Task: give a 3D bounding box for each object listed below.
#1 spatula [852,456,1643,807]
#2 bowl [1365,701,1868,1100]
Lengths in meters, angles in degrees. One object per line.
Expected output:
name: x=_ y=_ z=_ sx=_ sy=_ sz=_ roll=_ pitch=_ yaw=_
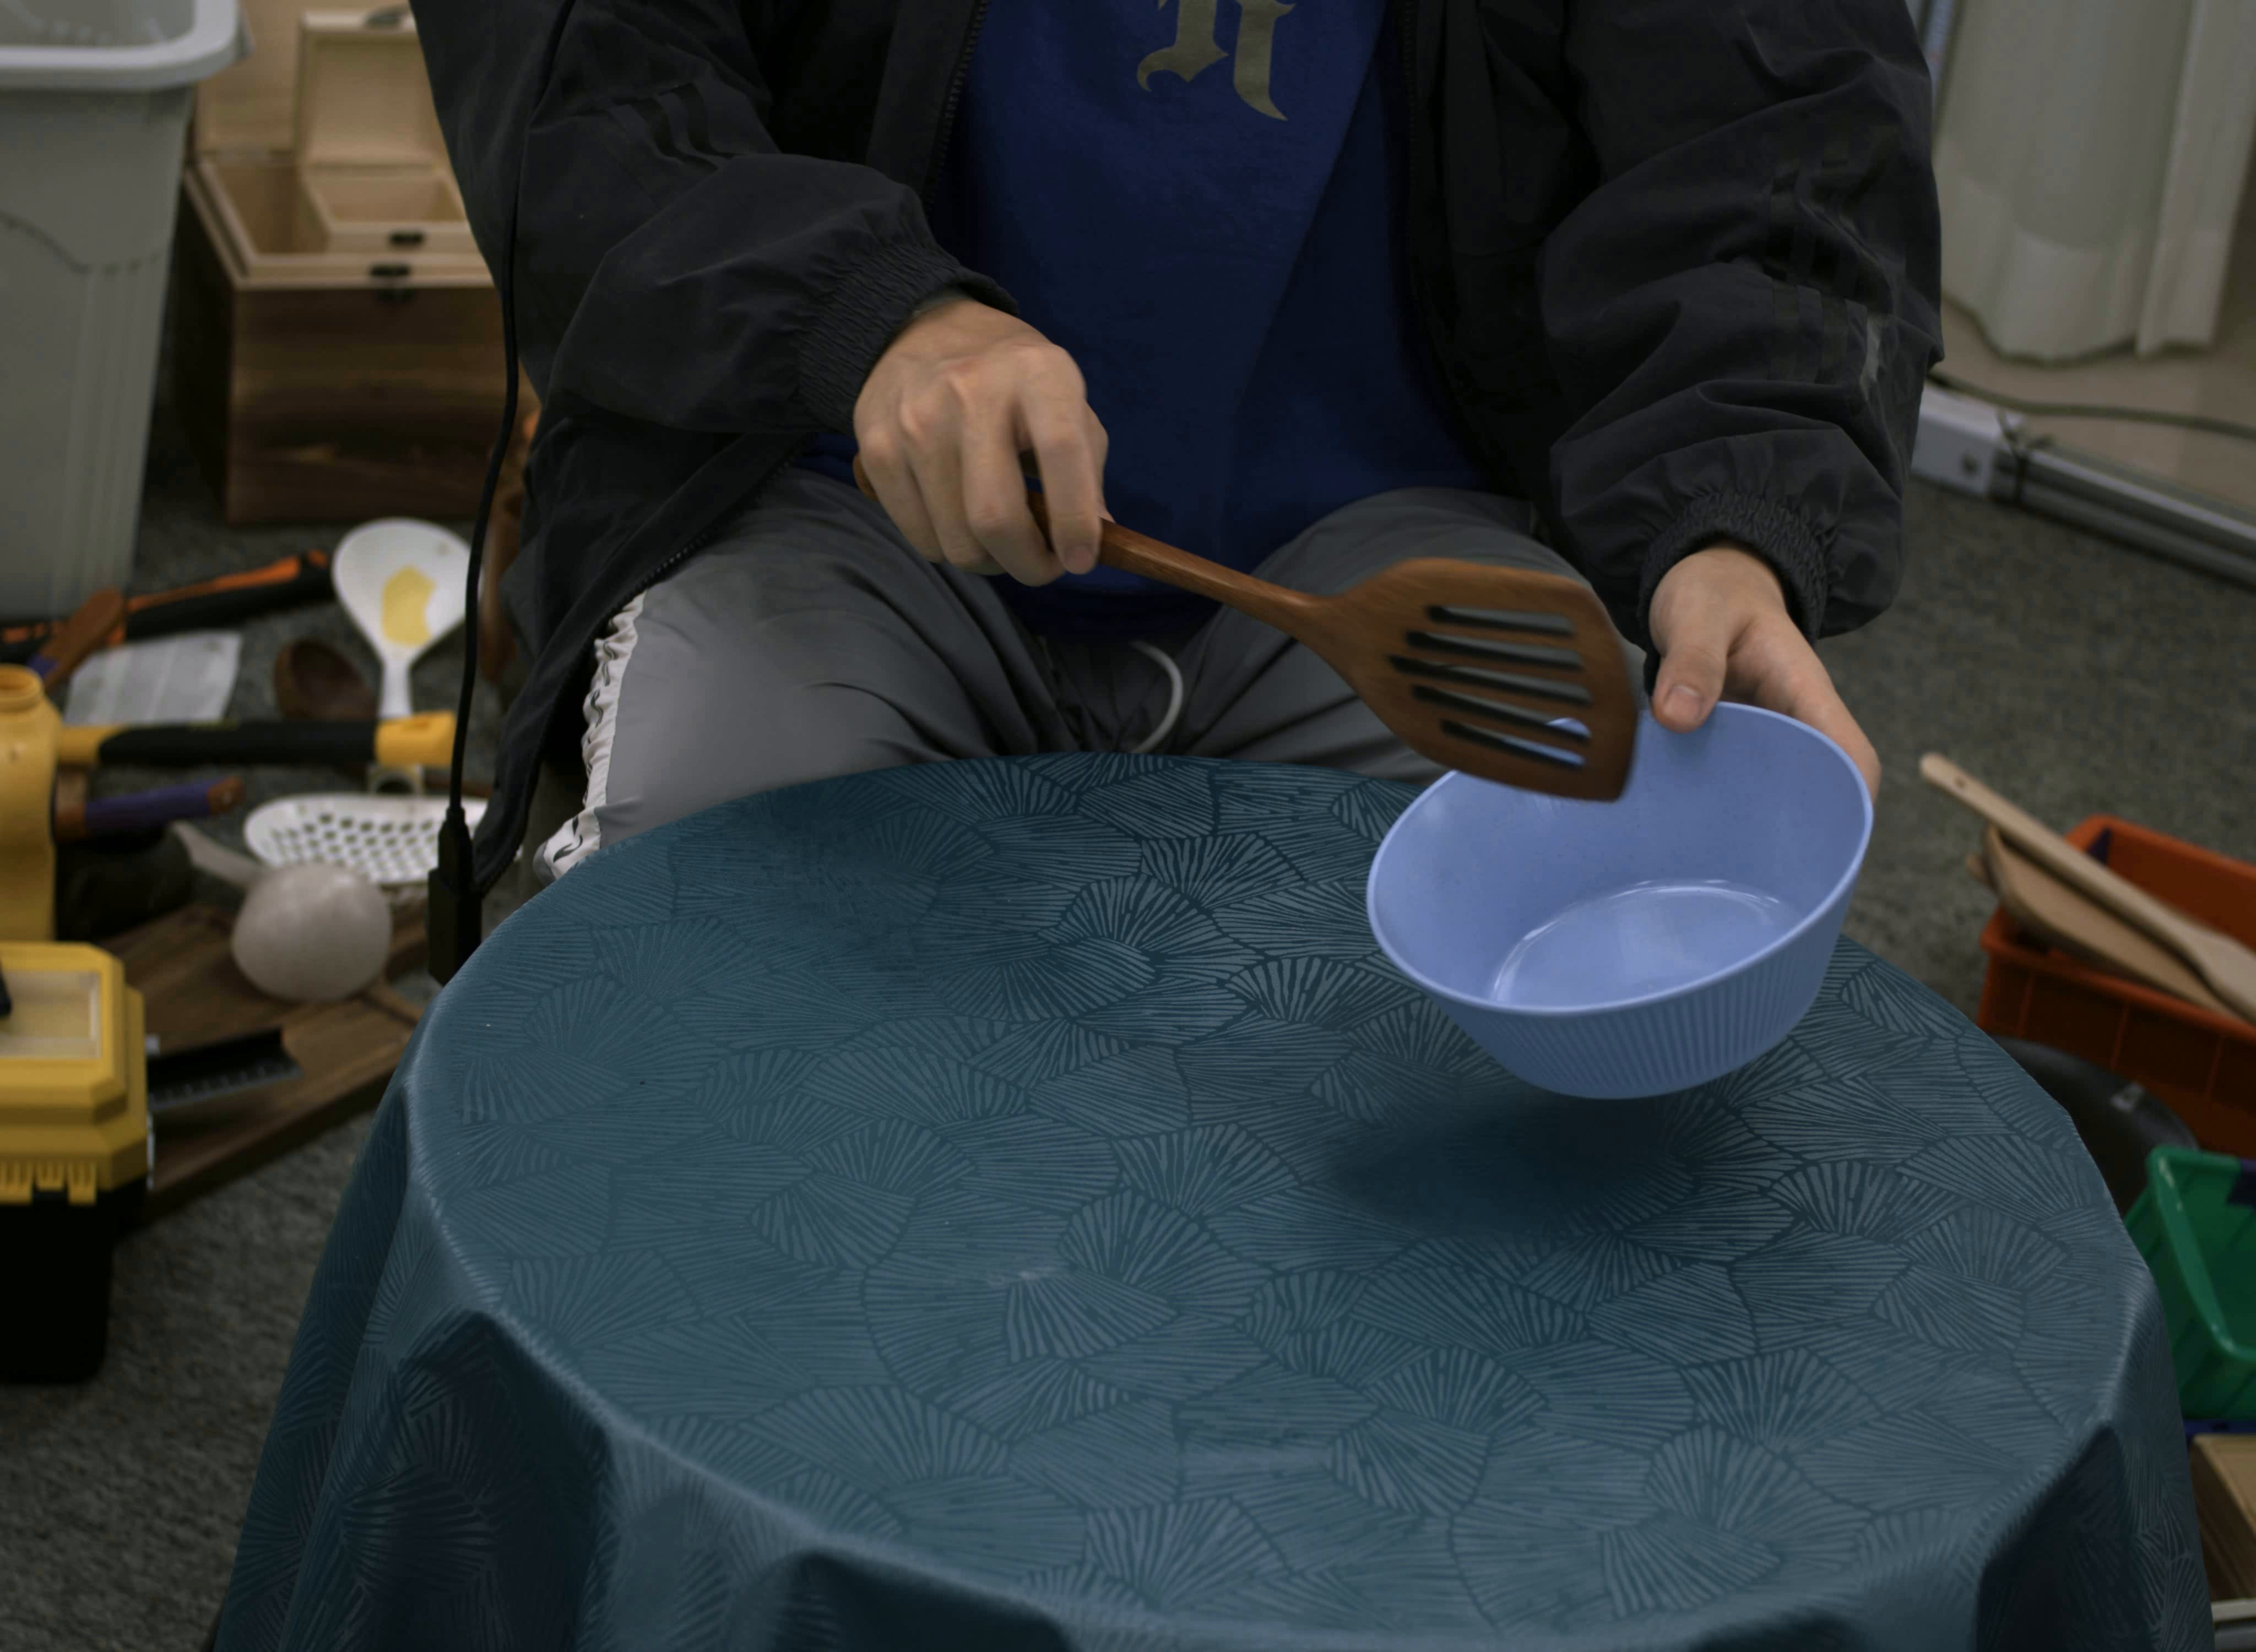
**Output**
spatula: x=0.029 y=-0.084 z=1.873 sx=0.024 sy=0.085 sz=0.389 roll=-25 pitch=30 yaw=-36
bowl: x=0.174 y=0.034 z=1.831 sx=0.176 sy=0.070 sz=0.177 roll=-13 pitch=32 yaw=8
